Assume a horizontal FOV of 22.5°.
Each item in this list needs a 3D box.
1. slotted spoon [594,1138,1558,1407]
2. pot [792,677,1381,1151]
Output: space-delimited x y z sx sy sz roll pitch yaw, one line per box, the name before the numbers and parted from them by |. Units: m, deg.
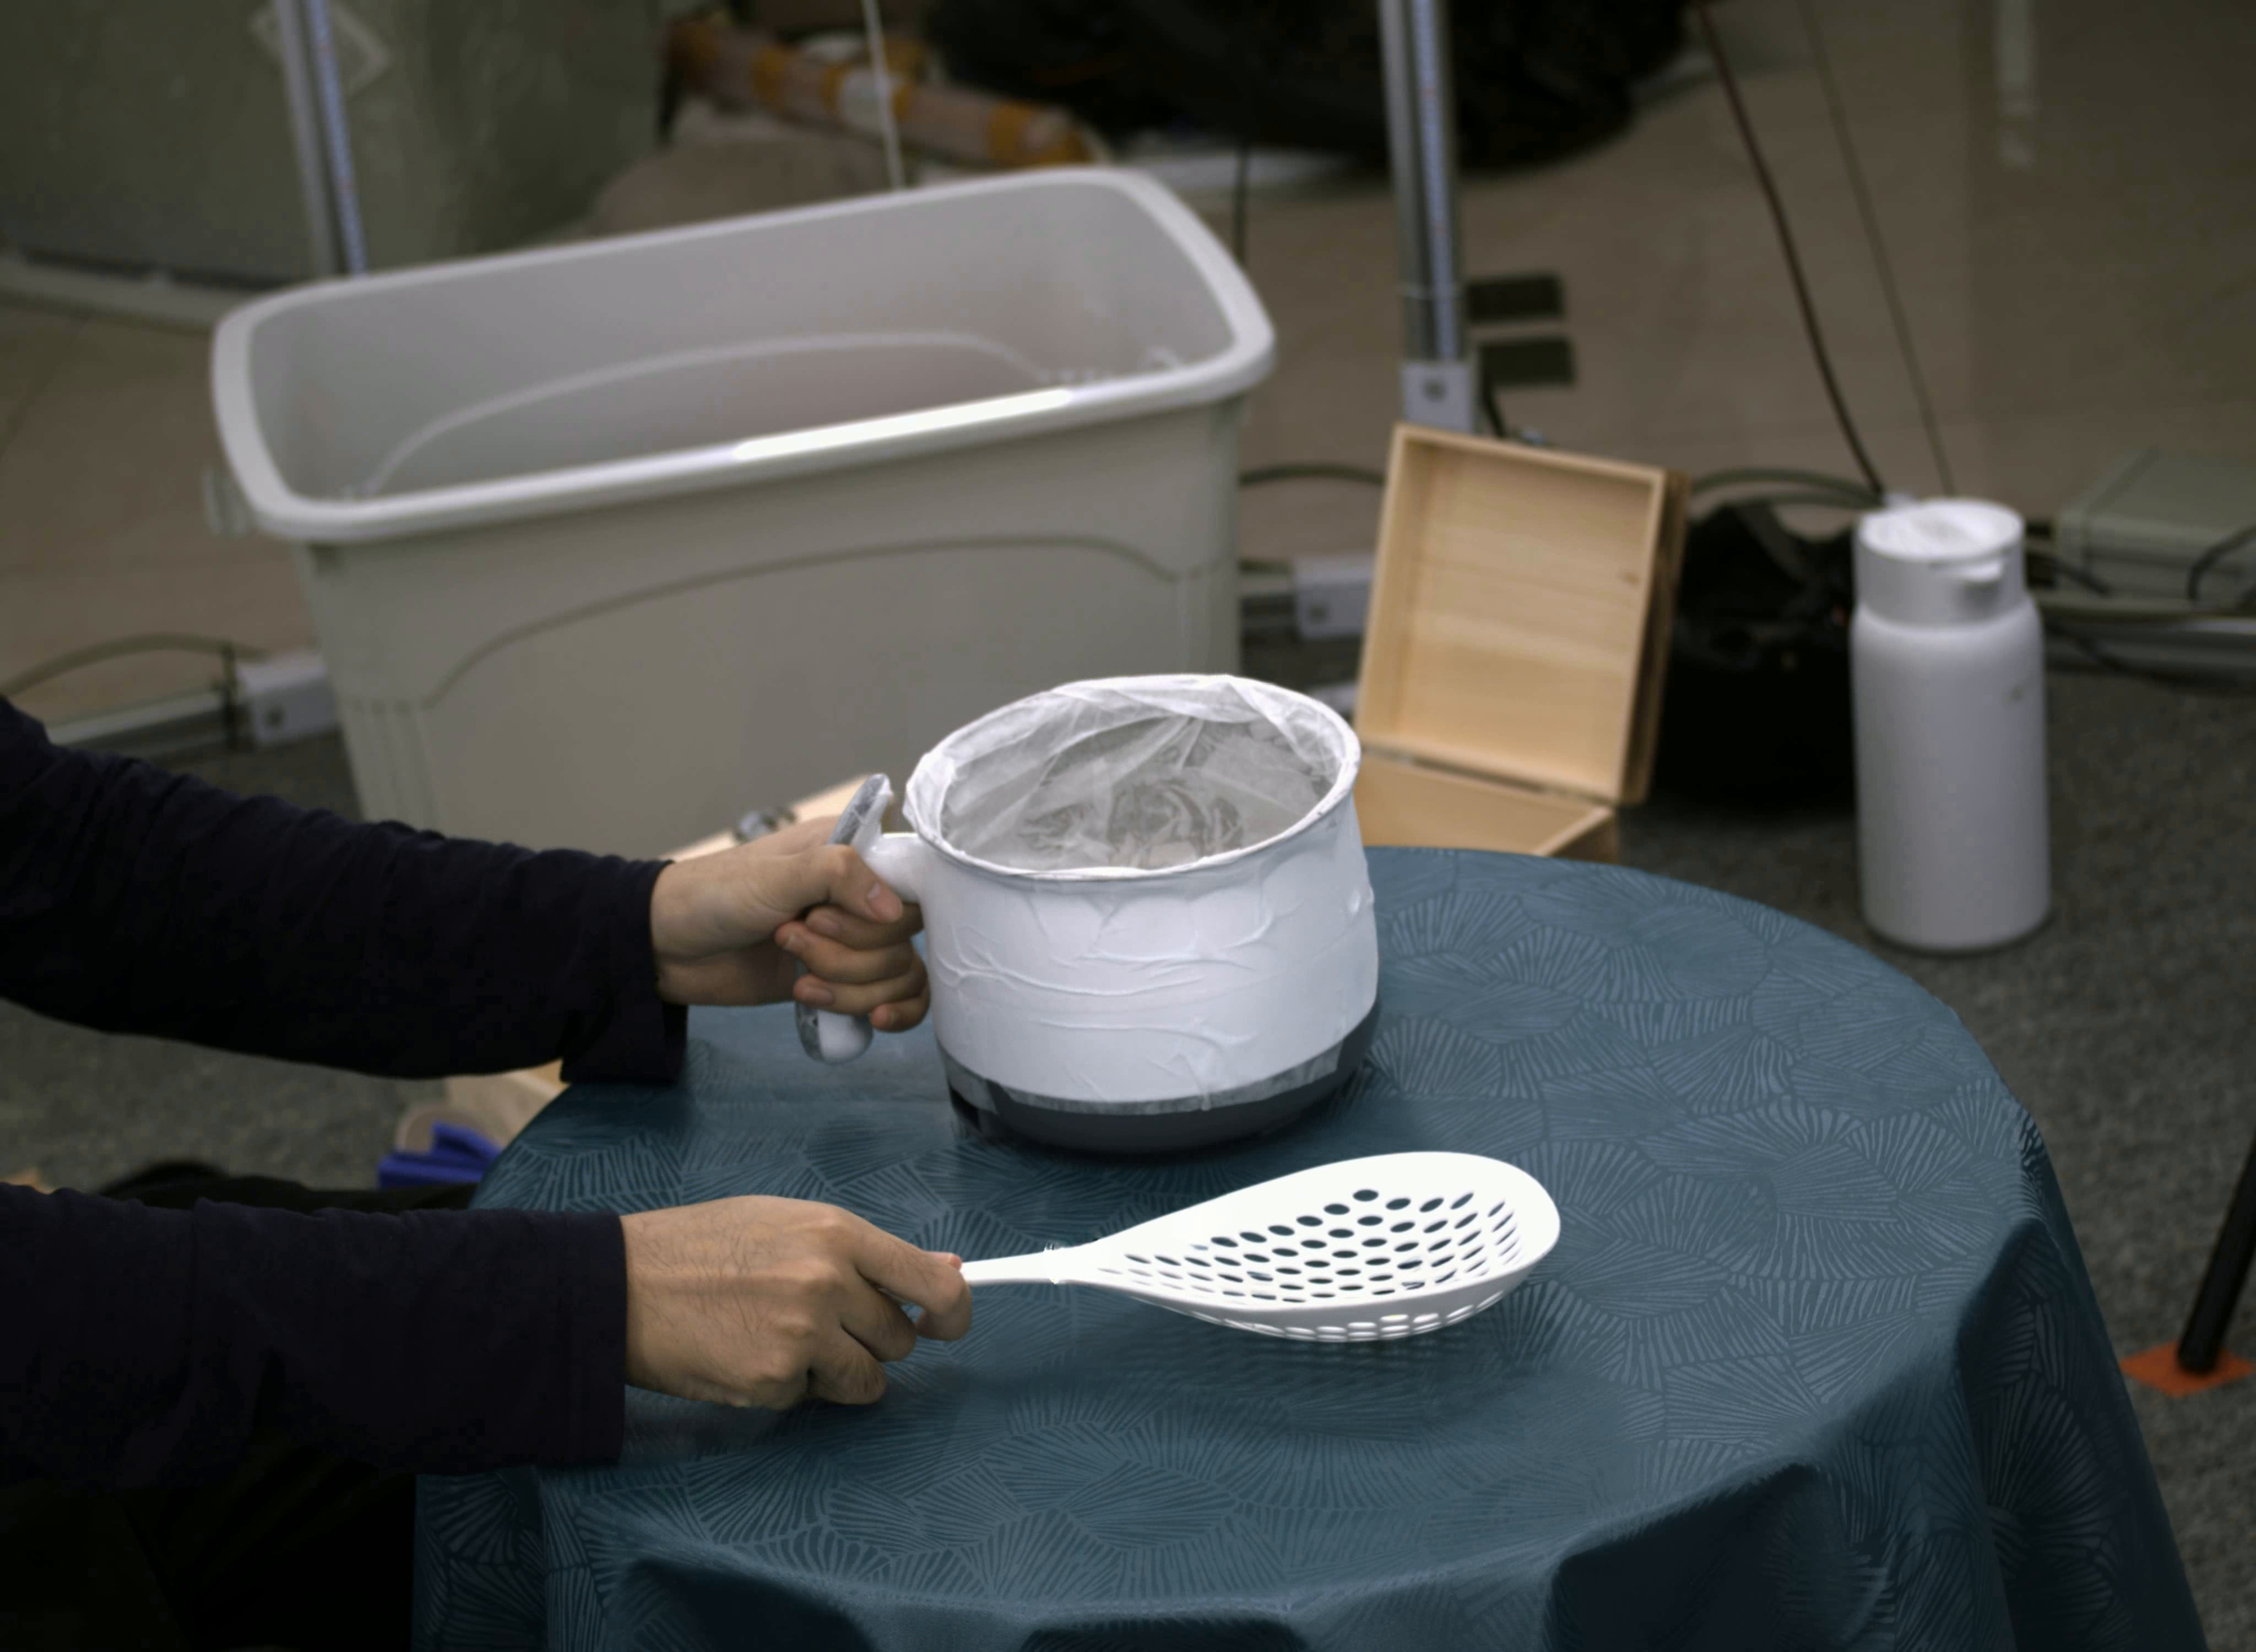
slotted spoon | -0.019 0.167 2.028 0.347 0.051 0.135 -4 19 -4
pot | -0.019 0.037 2.205 0.233 0.139 0.176 -3 25 6
